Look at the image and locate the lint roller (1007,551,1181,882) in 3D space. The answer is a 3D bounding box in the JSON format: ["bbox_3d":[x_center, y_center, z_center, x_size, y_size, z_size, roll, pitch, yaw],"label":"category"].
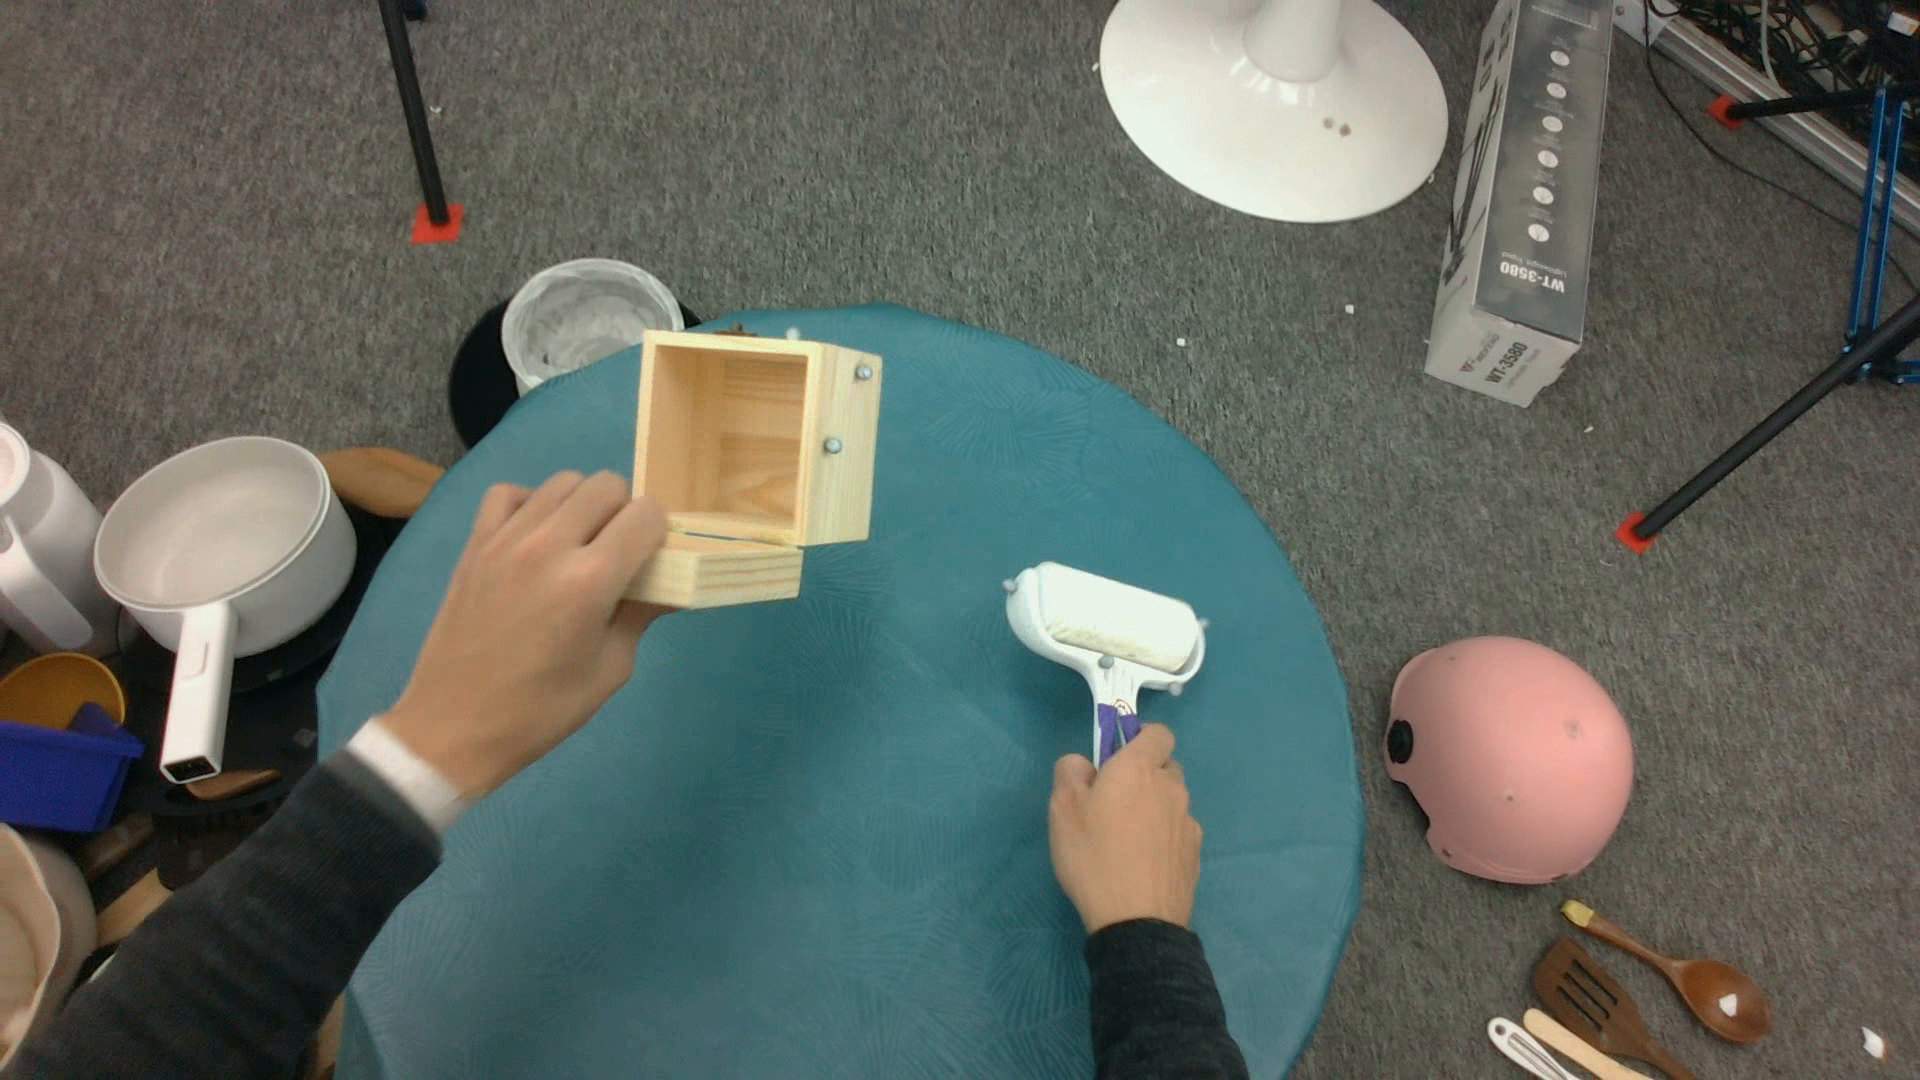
[{"bbox_3d":[0.088,0.096,0.763,0.133,0.050,0.181,26,40,-40],"label":"lint roller"}]

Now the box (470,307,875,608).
[{"bbox_3d":[-0.130,-0.046,0.659,0.102,0.185,0.134,6,97,23],"label":"box"}]
